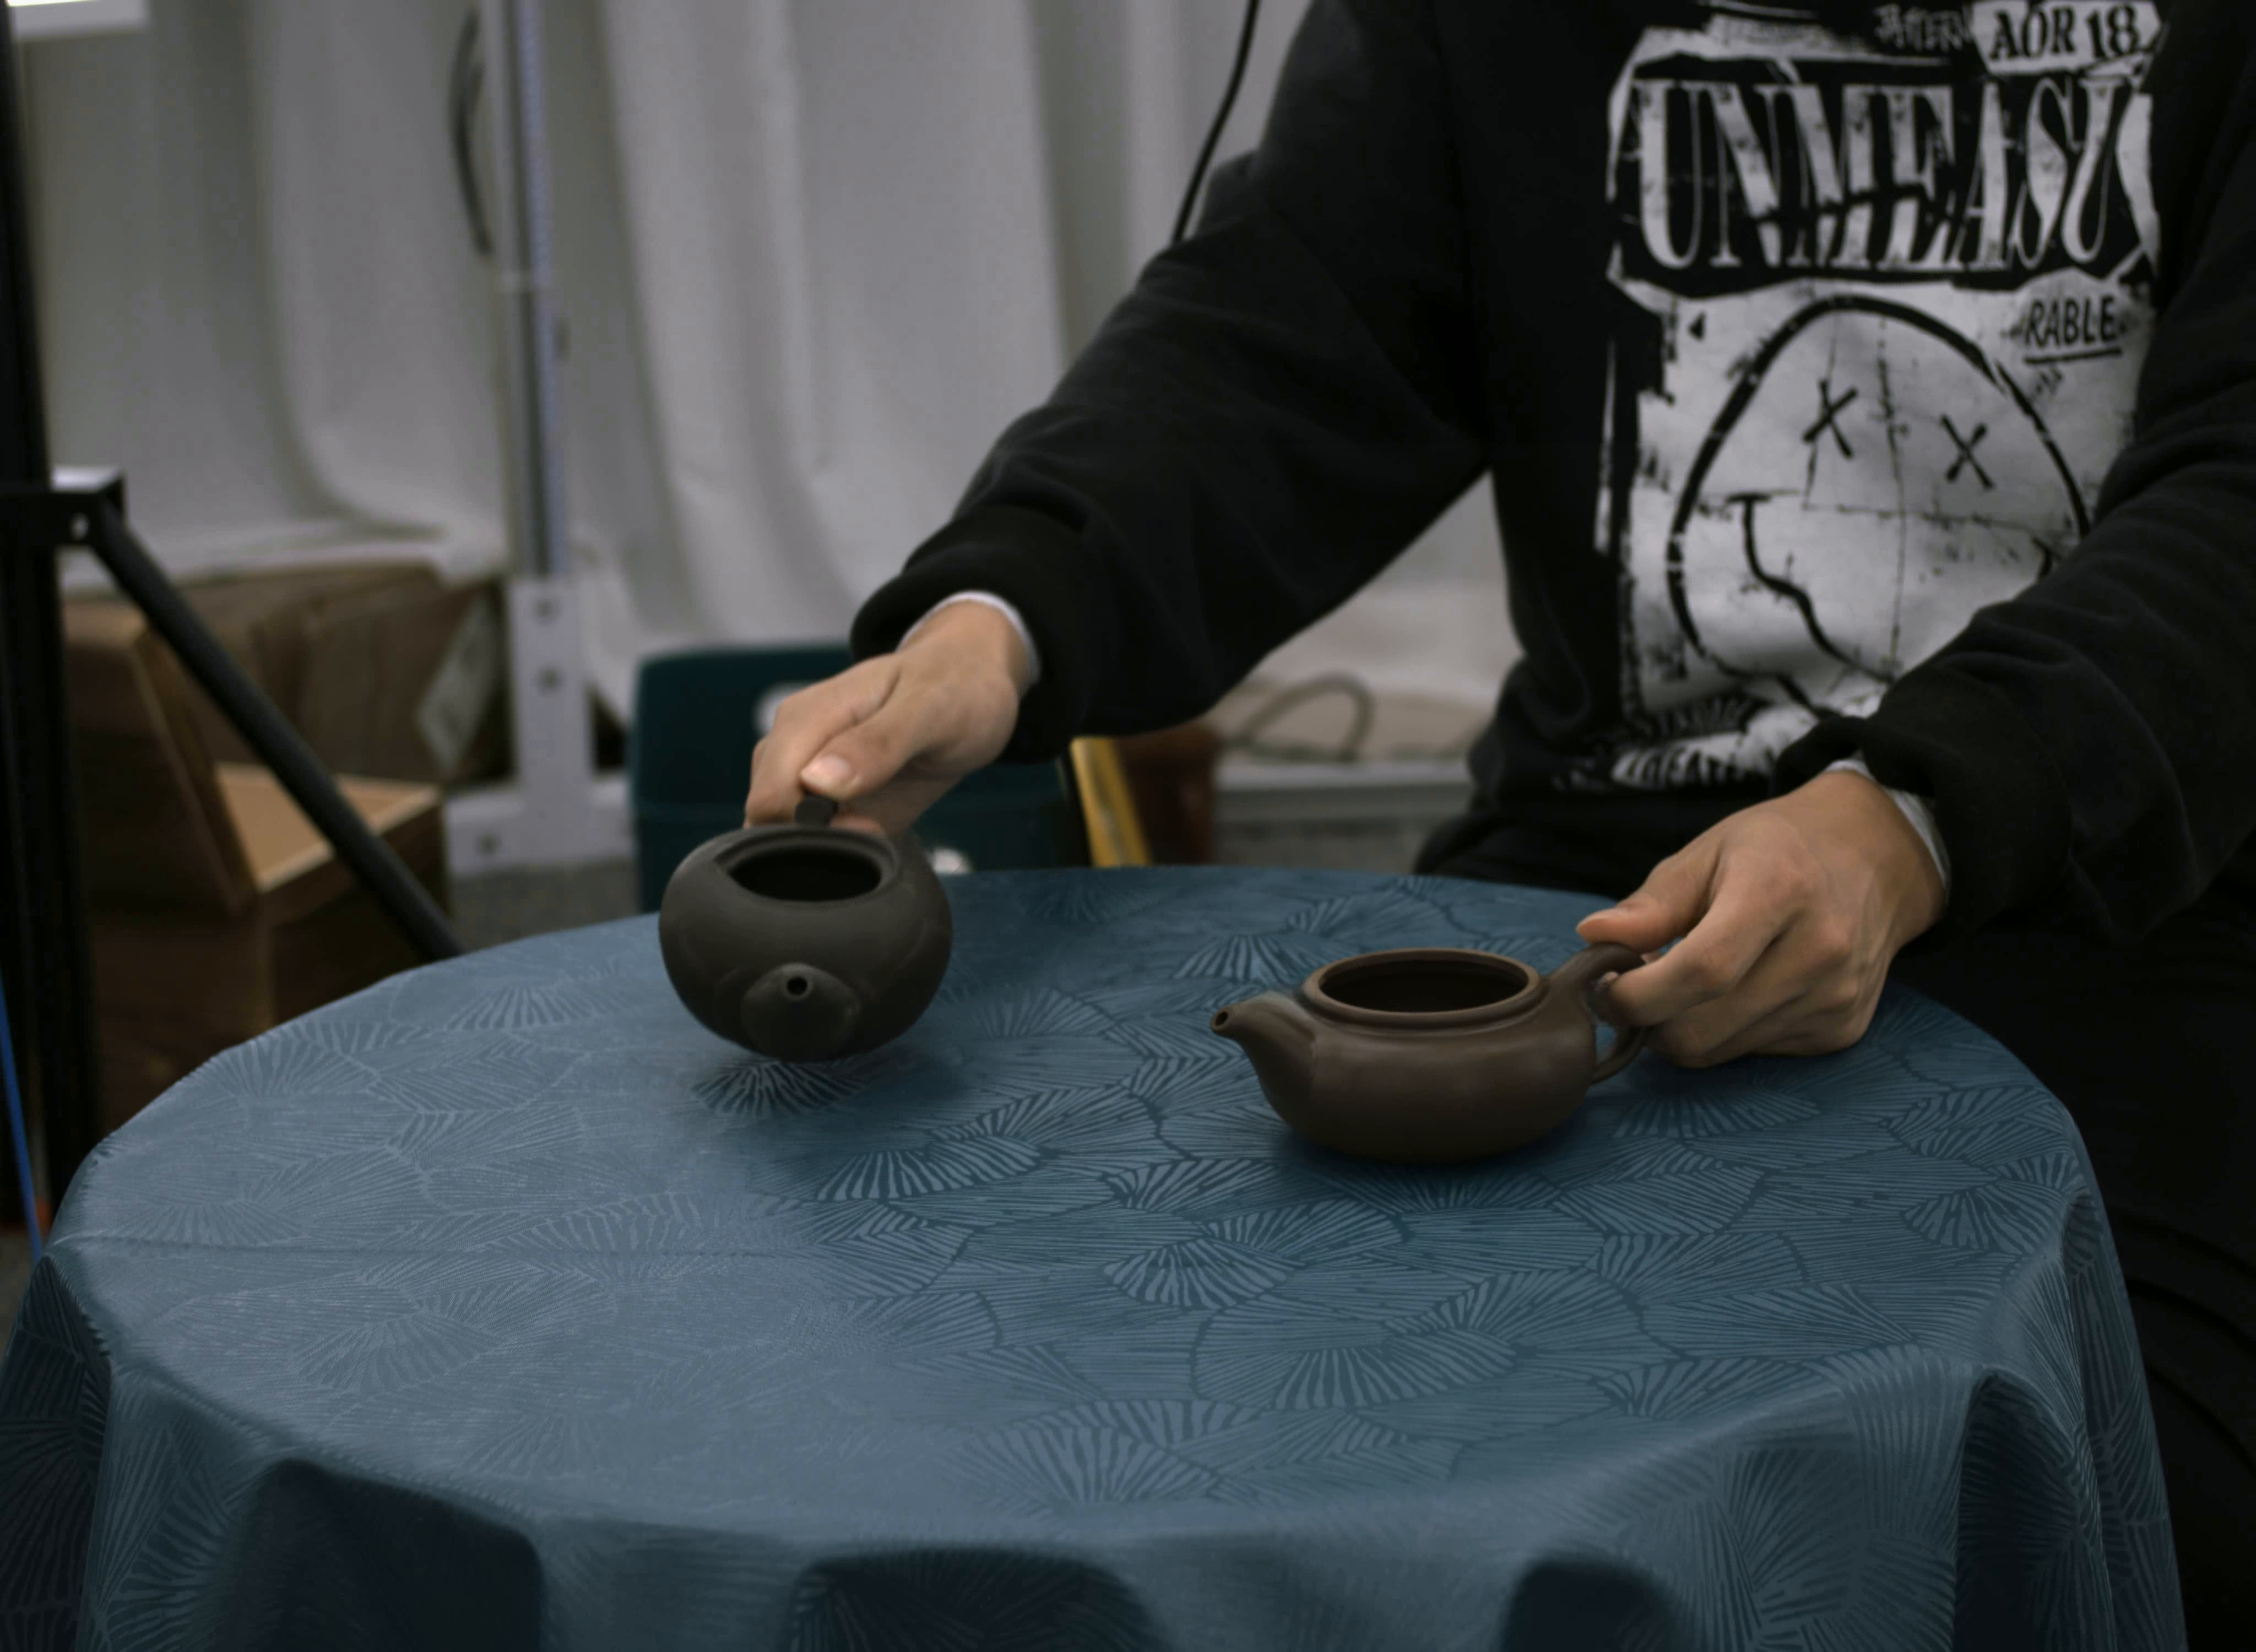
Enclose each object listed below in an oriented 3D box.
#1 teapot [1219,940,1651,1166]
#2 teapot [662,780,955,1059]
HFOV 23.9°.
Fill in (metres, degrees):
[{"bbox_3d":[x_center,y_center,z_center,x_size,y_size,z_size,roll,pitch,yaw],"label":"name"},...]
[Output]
[{"bbox_3d":[0.093,0.066,1.587,0.150,0.054,0.105,-13,20,-31],"label":"teapot"},{"bbox_3d":[-0.100,0.033,1.675,0.092,0.064,0.155,5,26,0],"label":"teapot"}]
